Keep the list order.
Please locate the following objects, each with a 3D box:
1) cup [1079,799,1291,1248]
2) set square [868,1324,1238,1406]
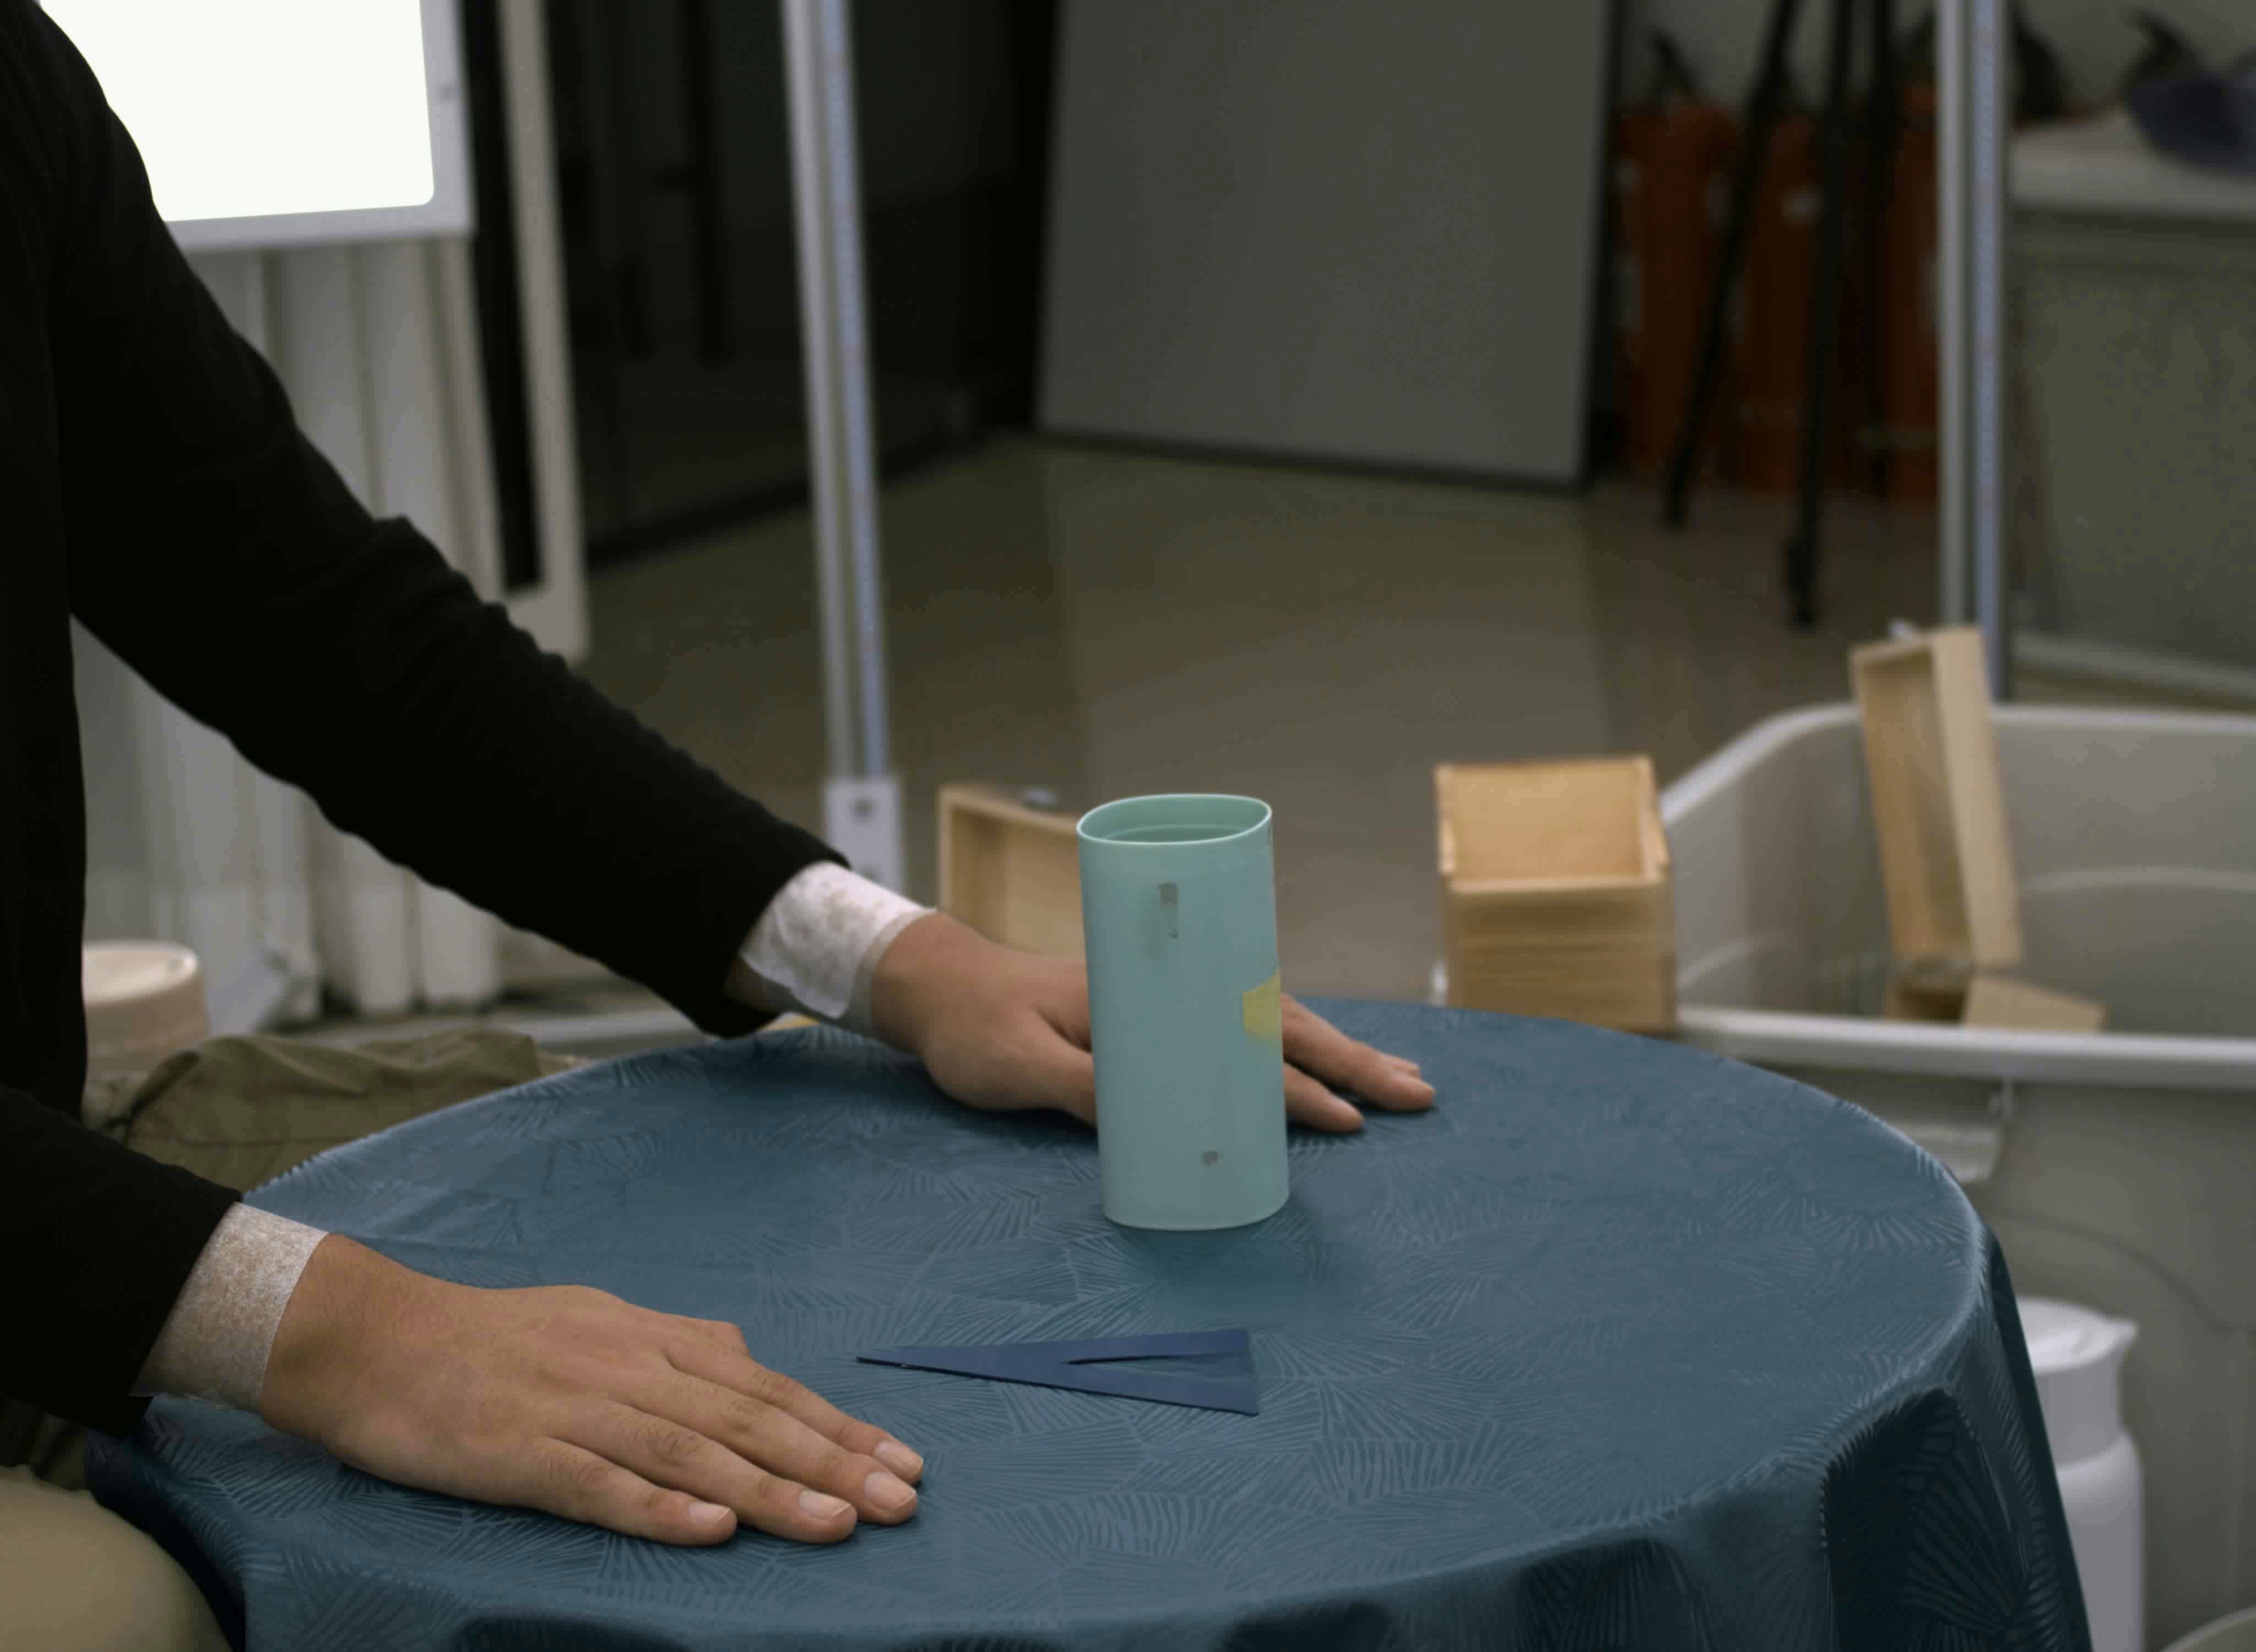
[{"bbox_3d":[0.018,0.063,1.740,0.066,0.134,0.067,-3,14,0],"label":"cup"},{"bbox_3d":[-0.013,0.155,1.626,0.133,0.006,0.060,5,19,34],"label":"set square"}]
